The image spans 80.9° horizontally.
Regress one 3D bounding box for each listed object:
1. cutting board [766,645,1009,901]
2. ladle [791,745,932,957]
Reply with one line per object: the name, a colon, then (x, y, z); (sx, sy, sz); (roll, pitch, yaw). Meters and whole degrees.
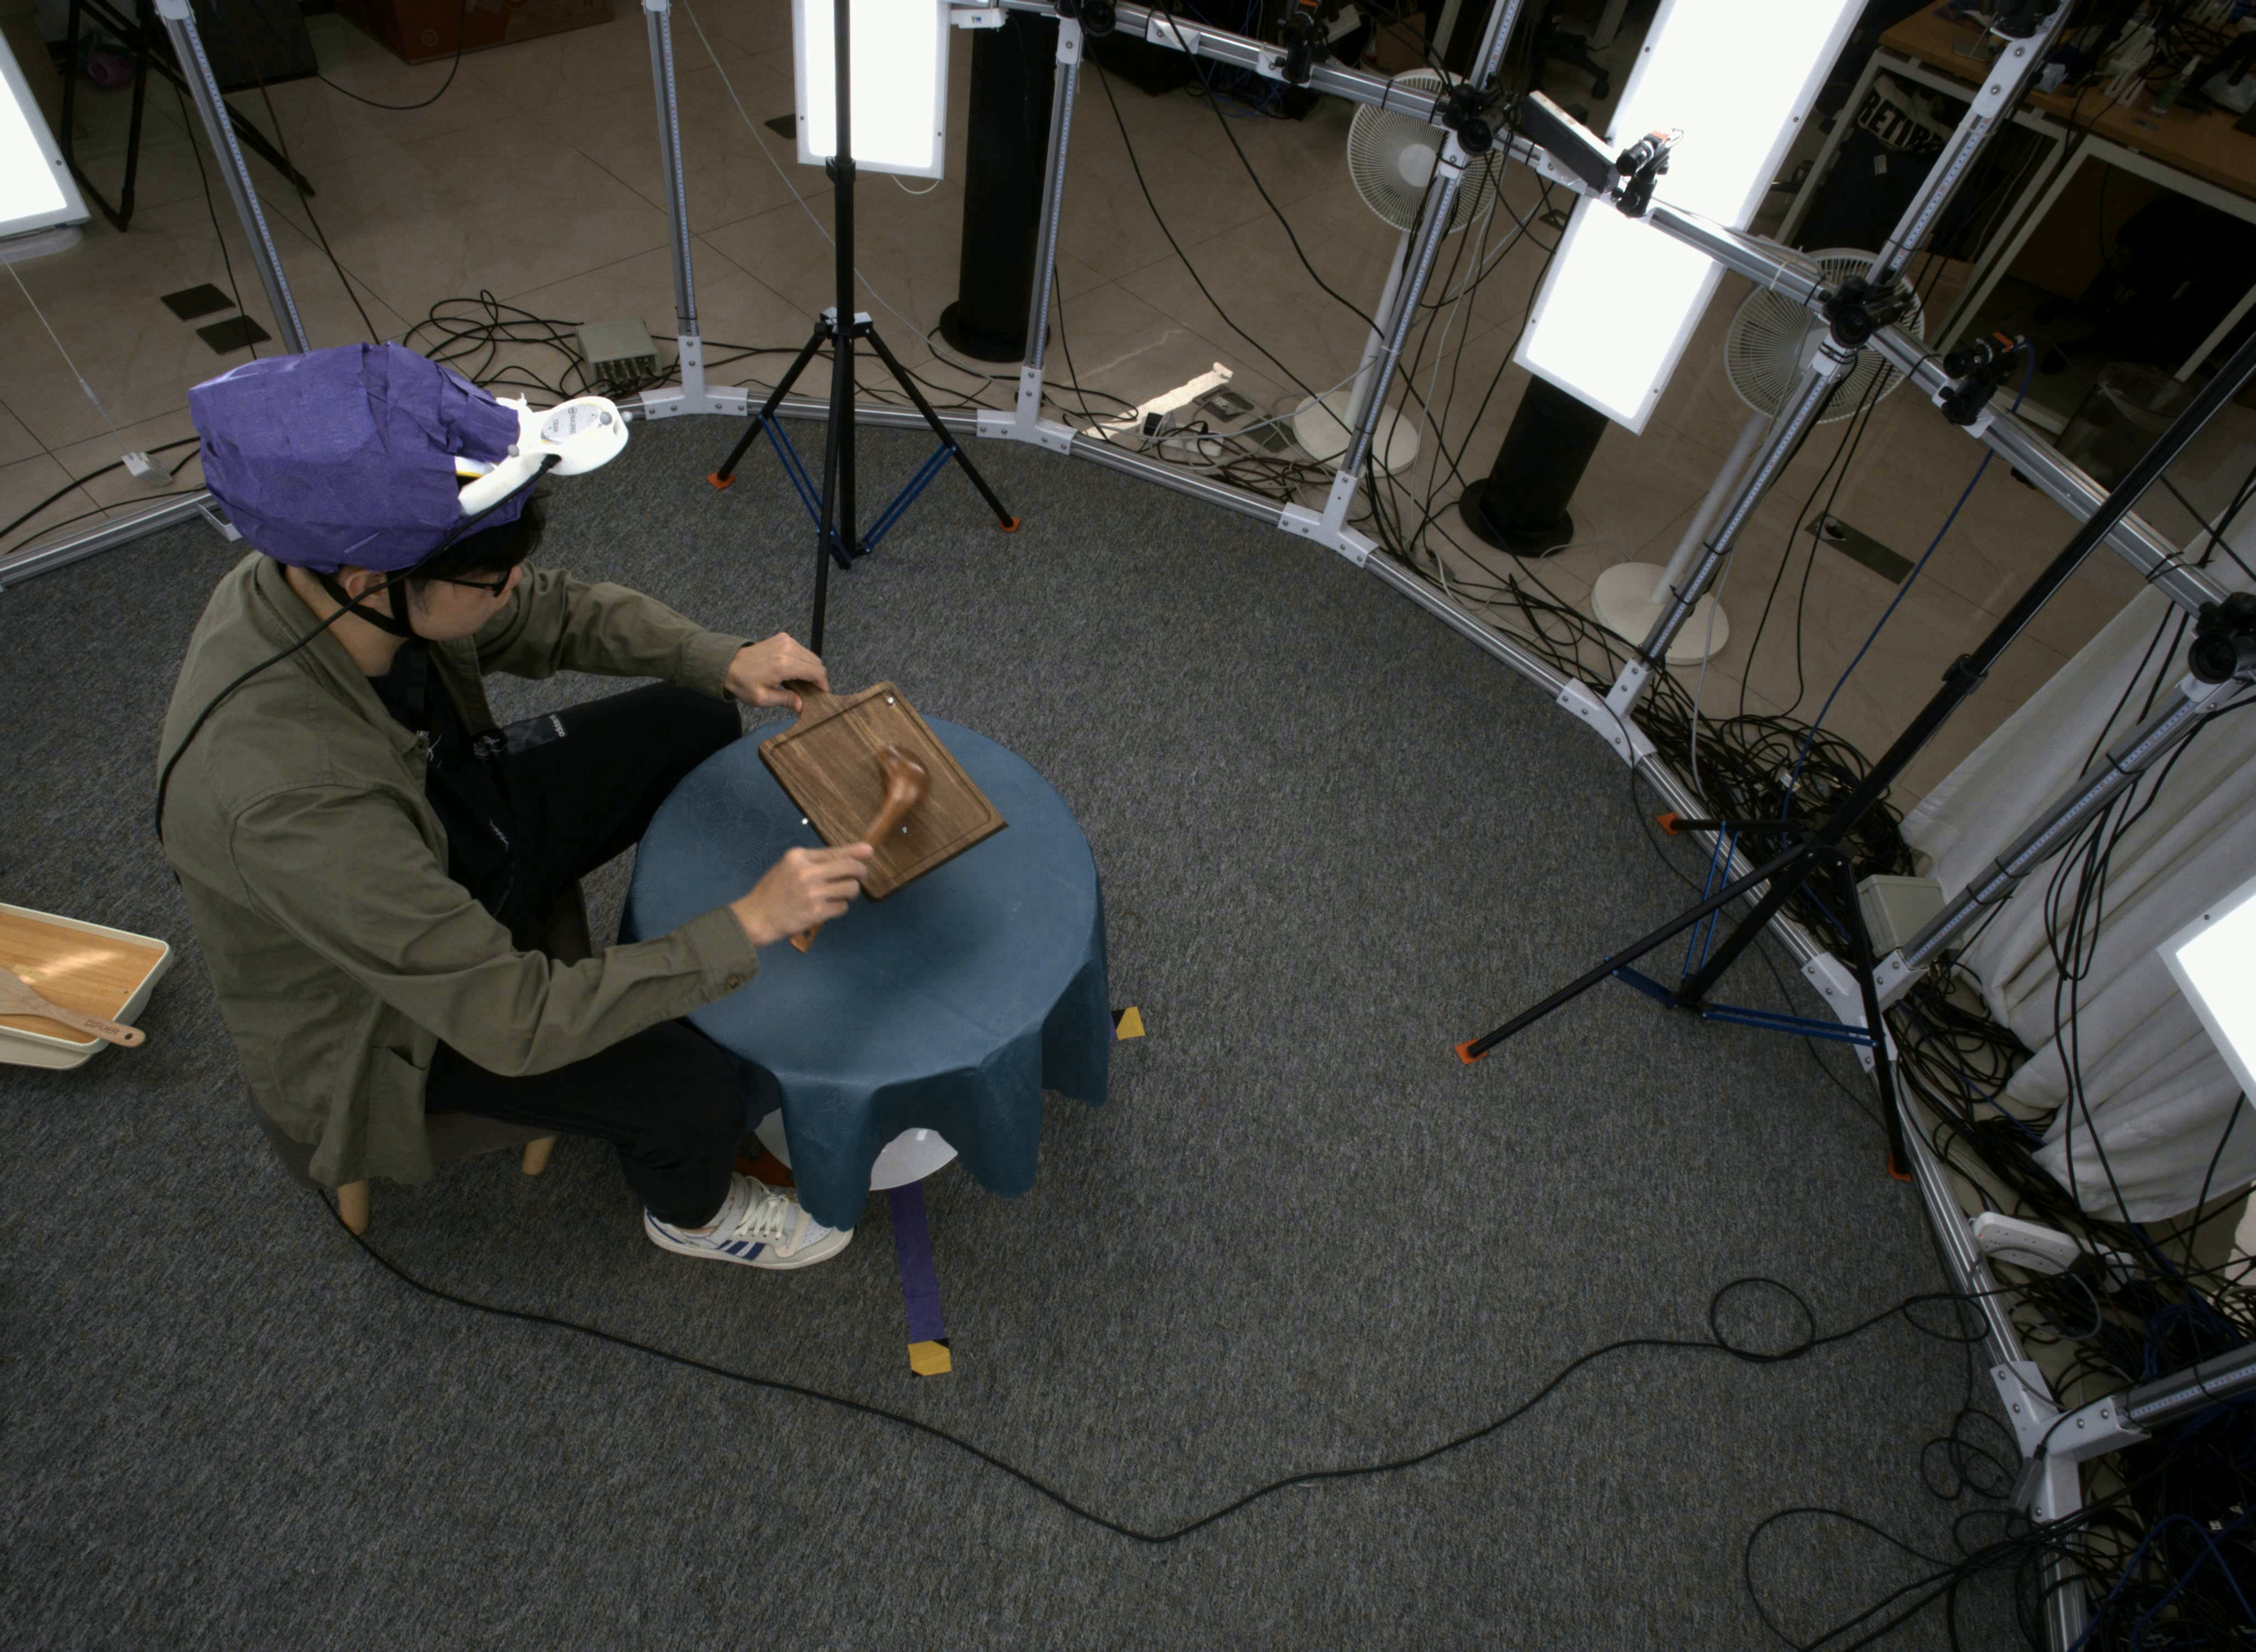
cutting board: (-0.323, -0.090, 1.604); (0.201, 0.023, 0.347); (-31, 76, -29)
ladle: (-0.316, 0.025, 1.494); (0.084, 0.074, 0.274); (41, 70, -26)
